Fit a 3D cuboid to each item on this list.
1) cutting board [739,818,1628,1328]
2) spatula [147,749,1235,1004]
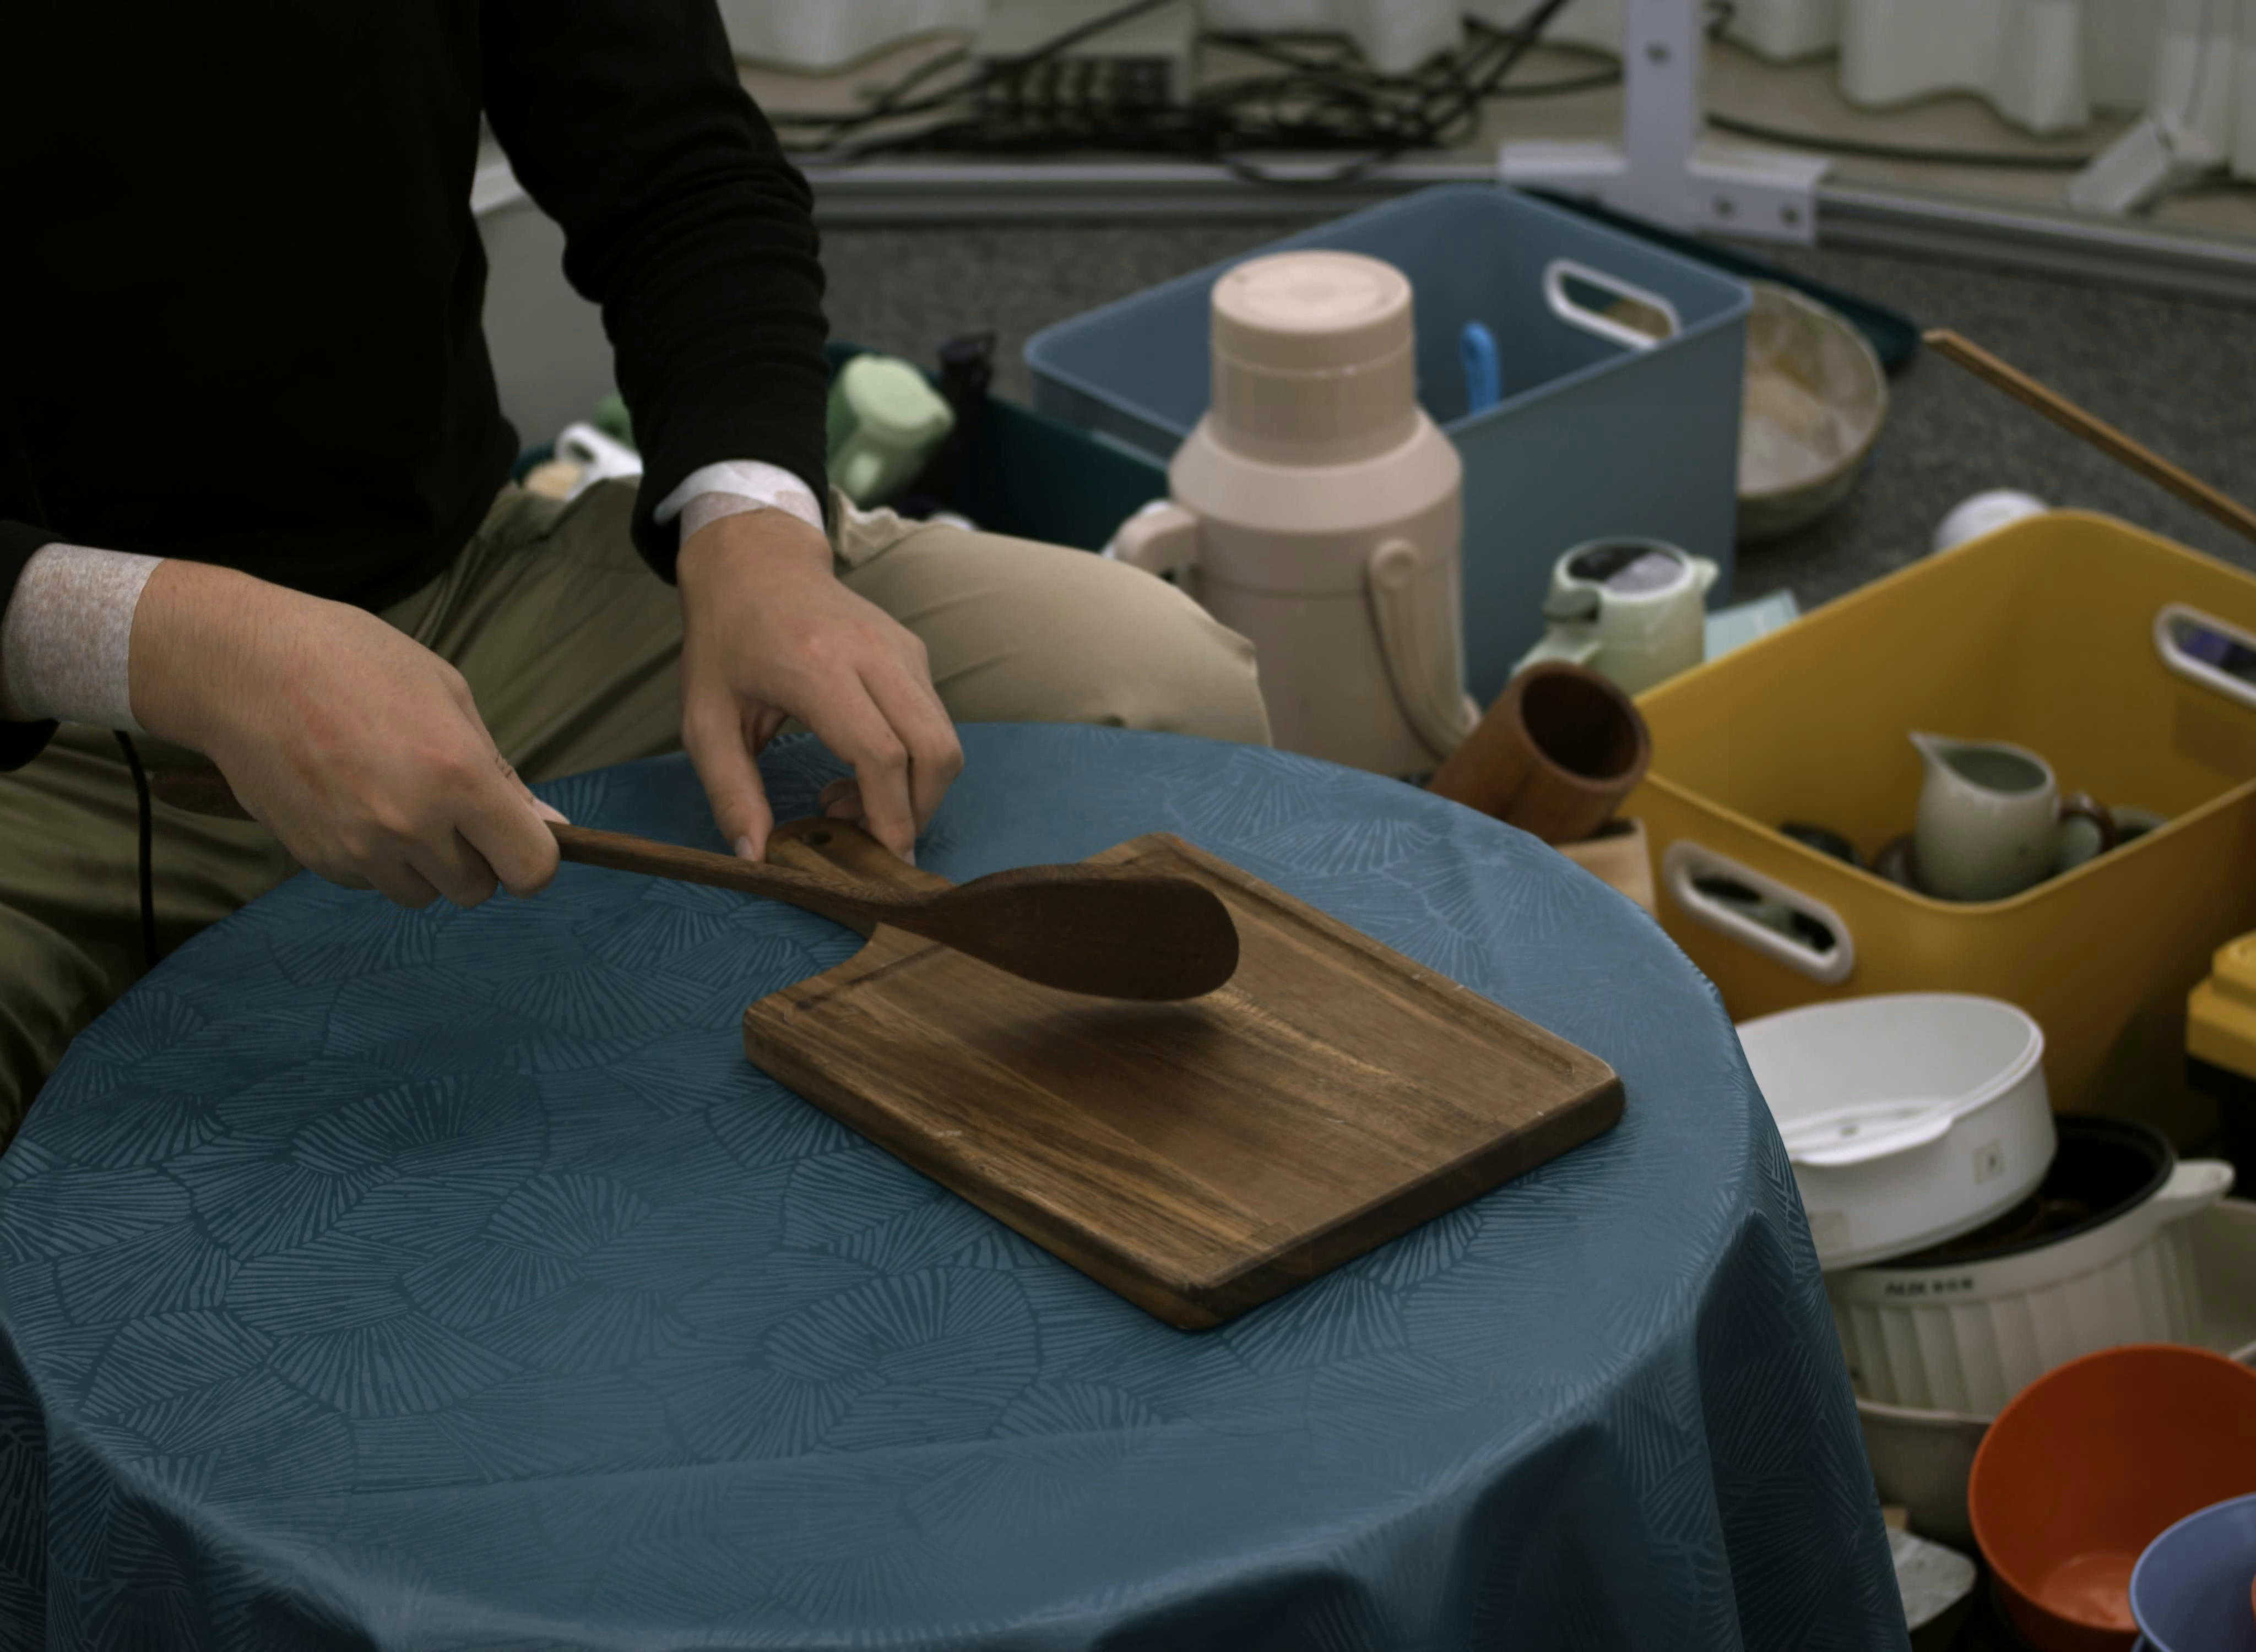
[{"bbox_3d":[-0.015,0.065,1.950,0.203,0.023,0.352,-23,33,-34],"label":"cutting board"},{"bbox_3d":[-0.152,0.012,1.924,0.384,0.095,0.016,10,61,9],"label":"spatula"}]
